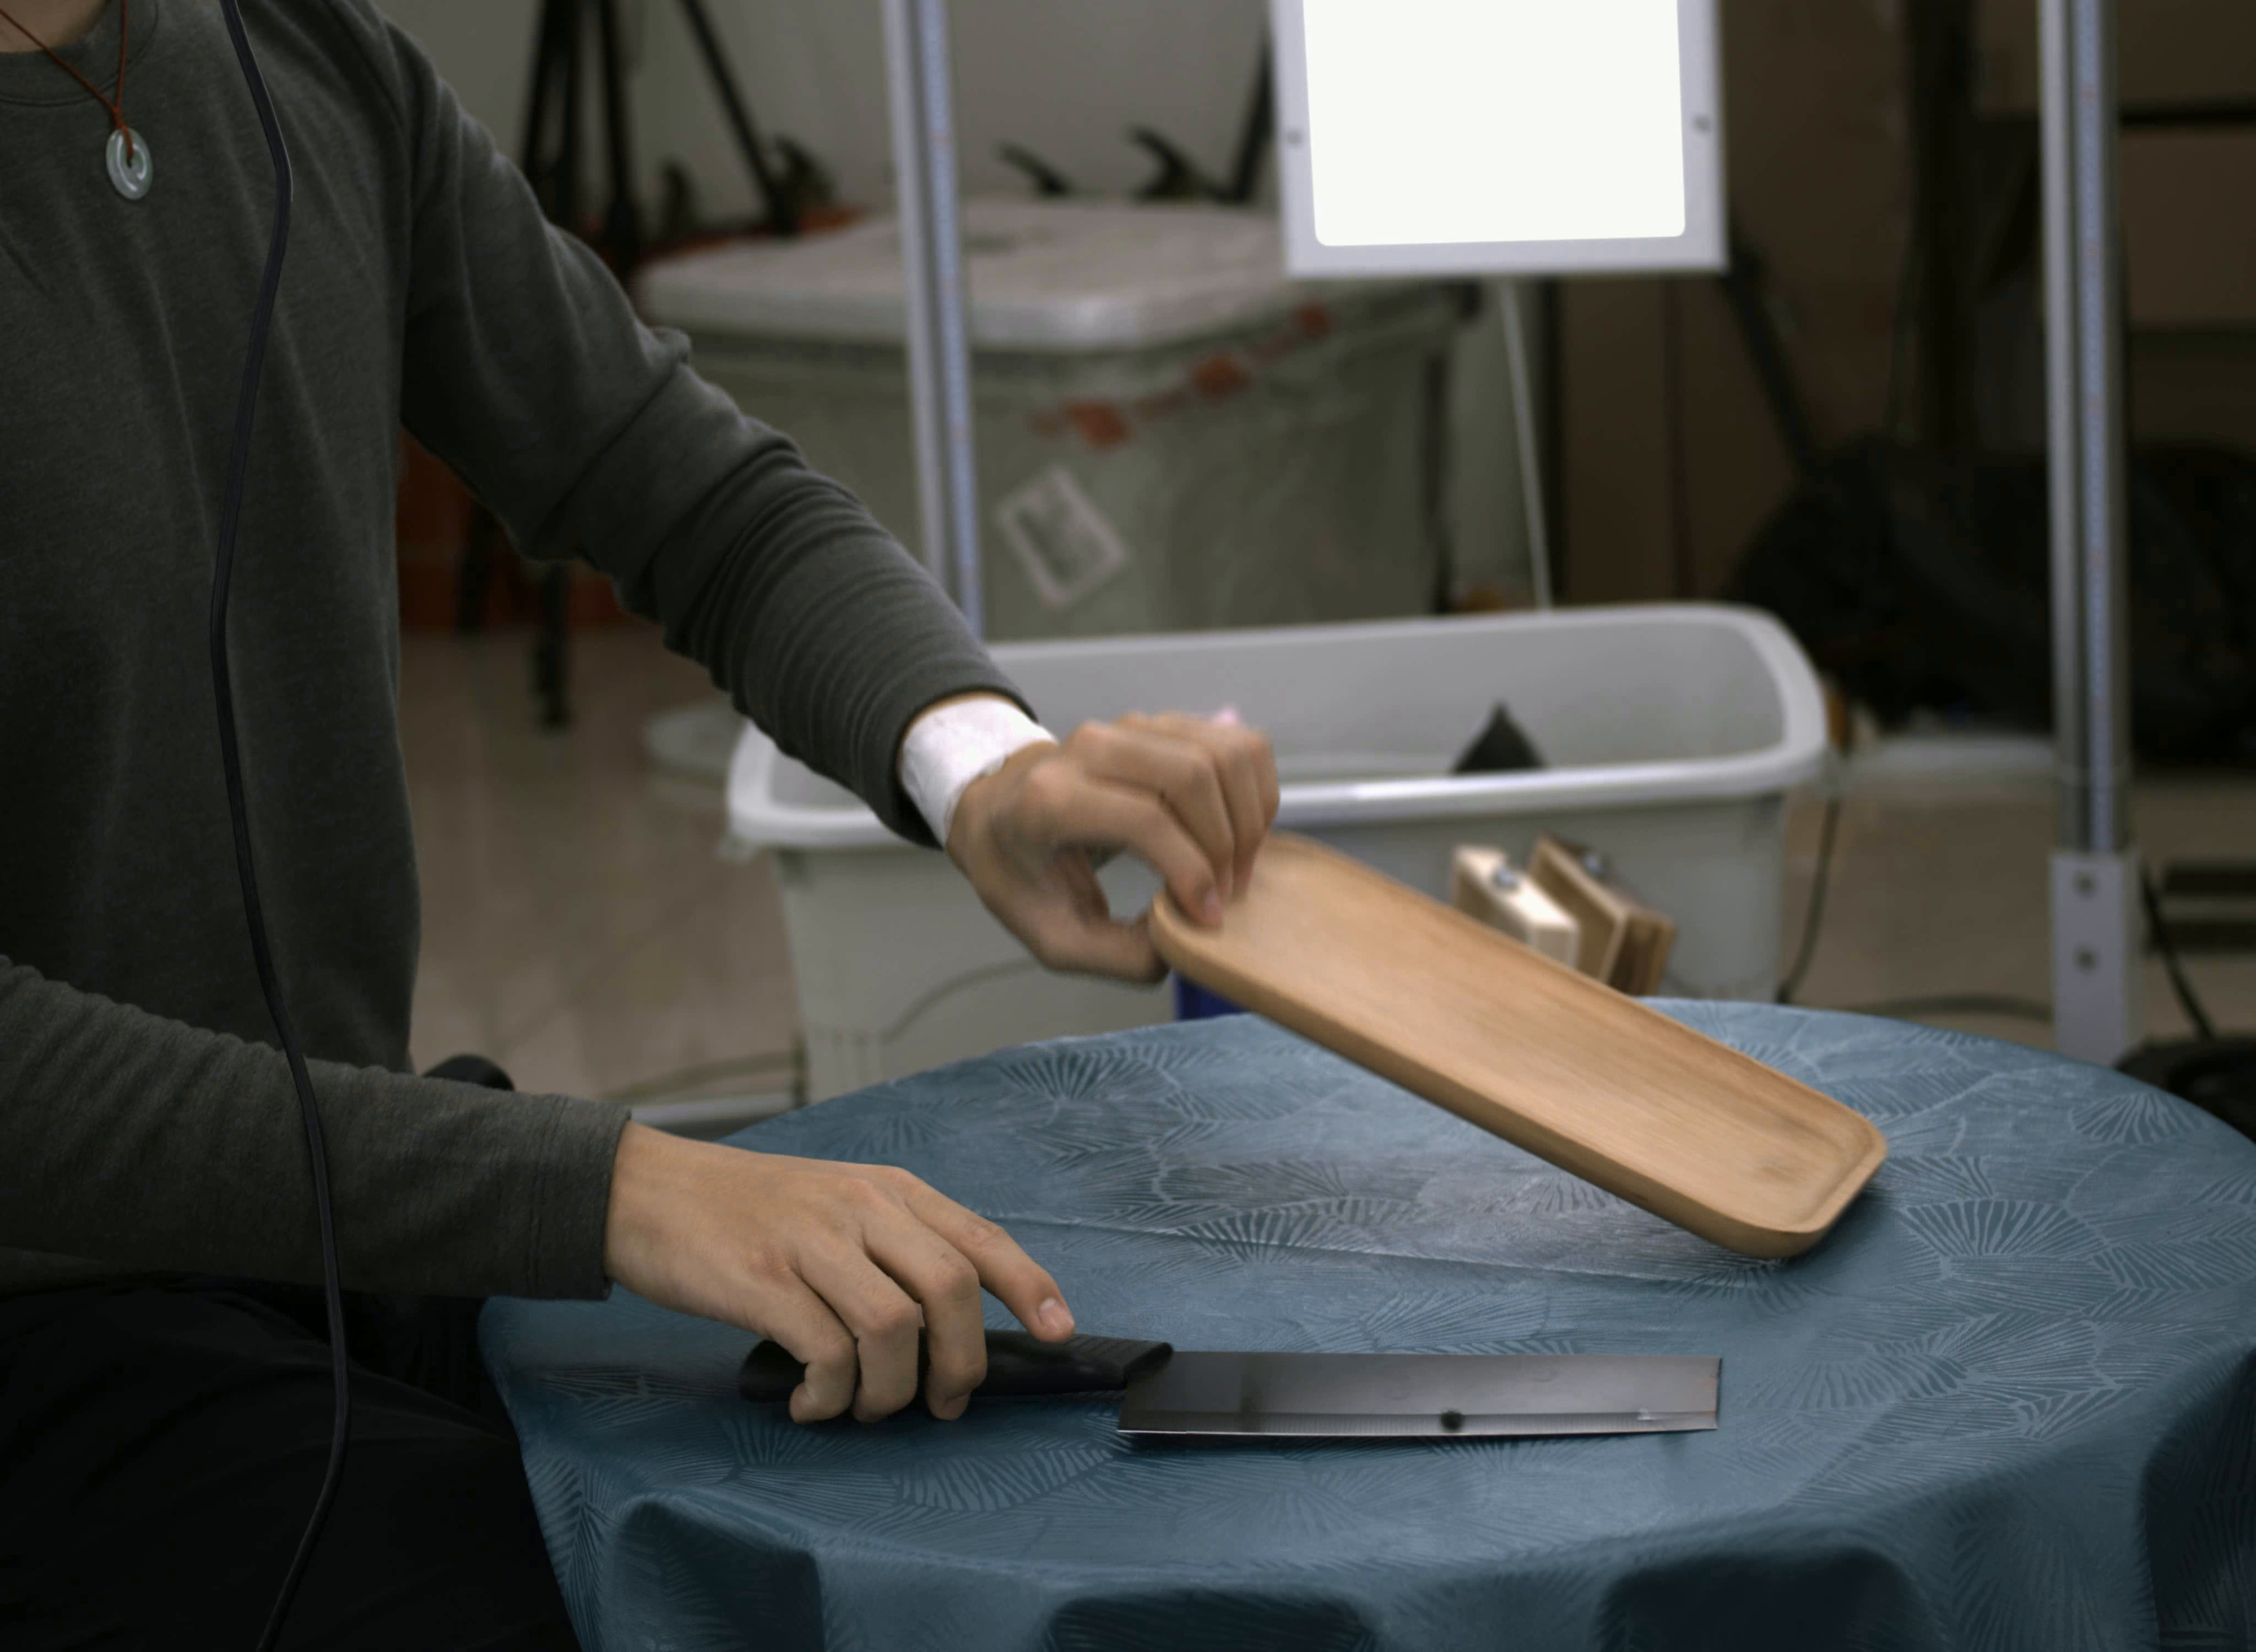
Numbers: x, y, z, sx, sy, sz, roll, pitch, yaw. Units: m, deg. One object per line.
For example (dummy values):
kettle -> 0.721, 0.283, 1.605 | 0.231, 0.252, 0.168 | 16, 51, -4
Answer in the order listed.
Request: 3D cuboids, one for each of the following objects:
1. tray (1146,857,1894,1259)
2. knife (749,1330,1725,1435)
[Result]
tray -> 0.131, 0.076, 1.838 | 0.253, 0.023, 0.128 | 23, 20, 18
knife -> 0.033, 0.171, 1.678 | 0.305, 0.021, 0.080 | 0, 16, 14
